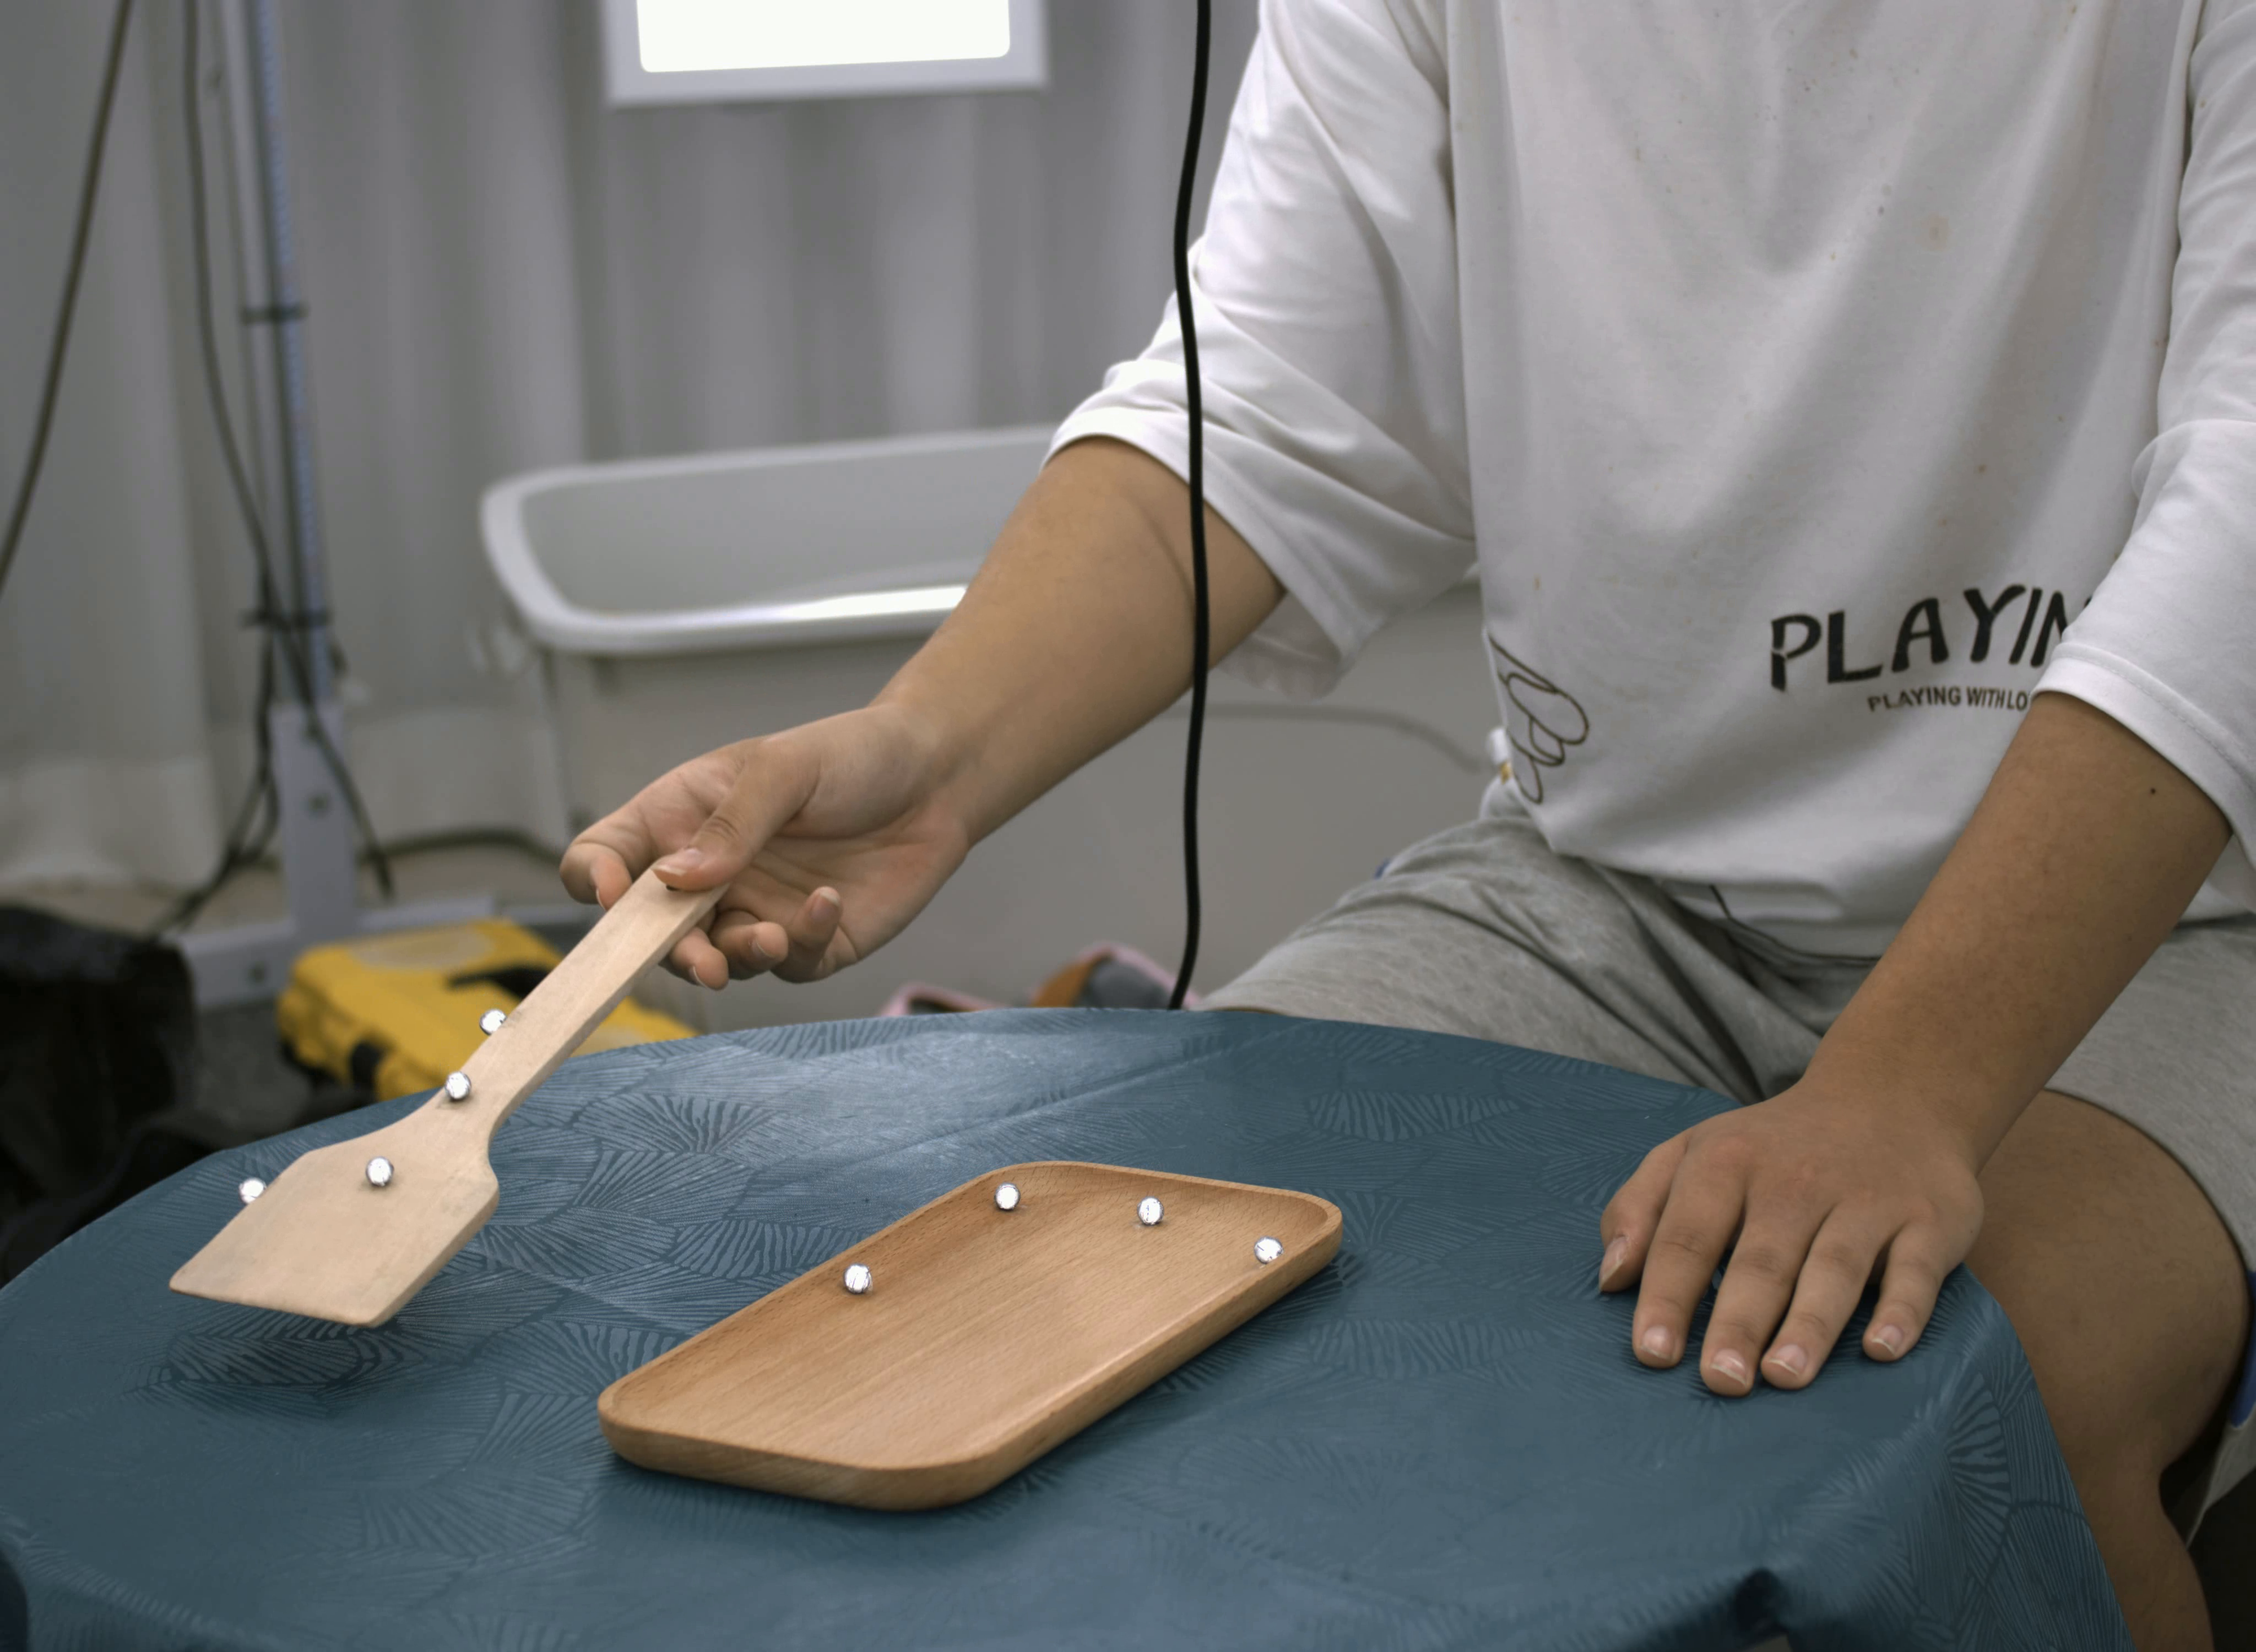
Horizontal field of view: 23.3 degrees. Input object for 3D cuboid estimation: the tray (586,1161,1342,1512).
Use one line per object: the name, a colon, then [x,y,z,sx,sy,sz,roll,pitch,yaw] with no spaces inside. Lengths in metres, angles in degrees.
tray: [-0.043,0.145,1.581,0.131,0.023,0.251,4,16,31]

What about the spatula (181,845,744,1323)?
spatula: [-0.192,0.074,1.692,0.072,0.010,0.295,7,29,21]
